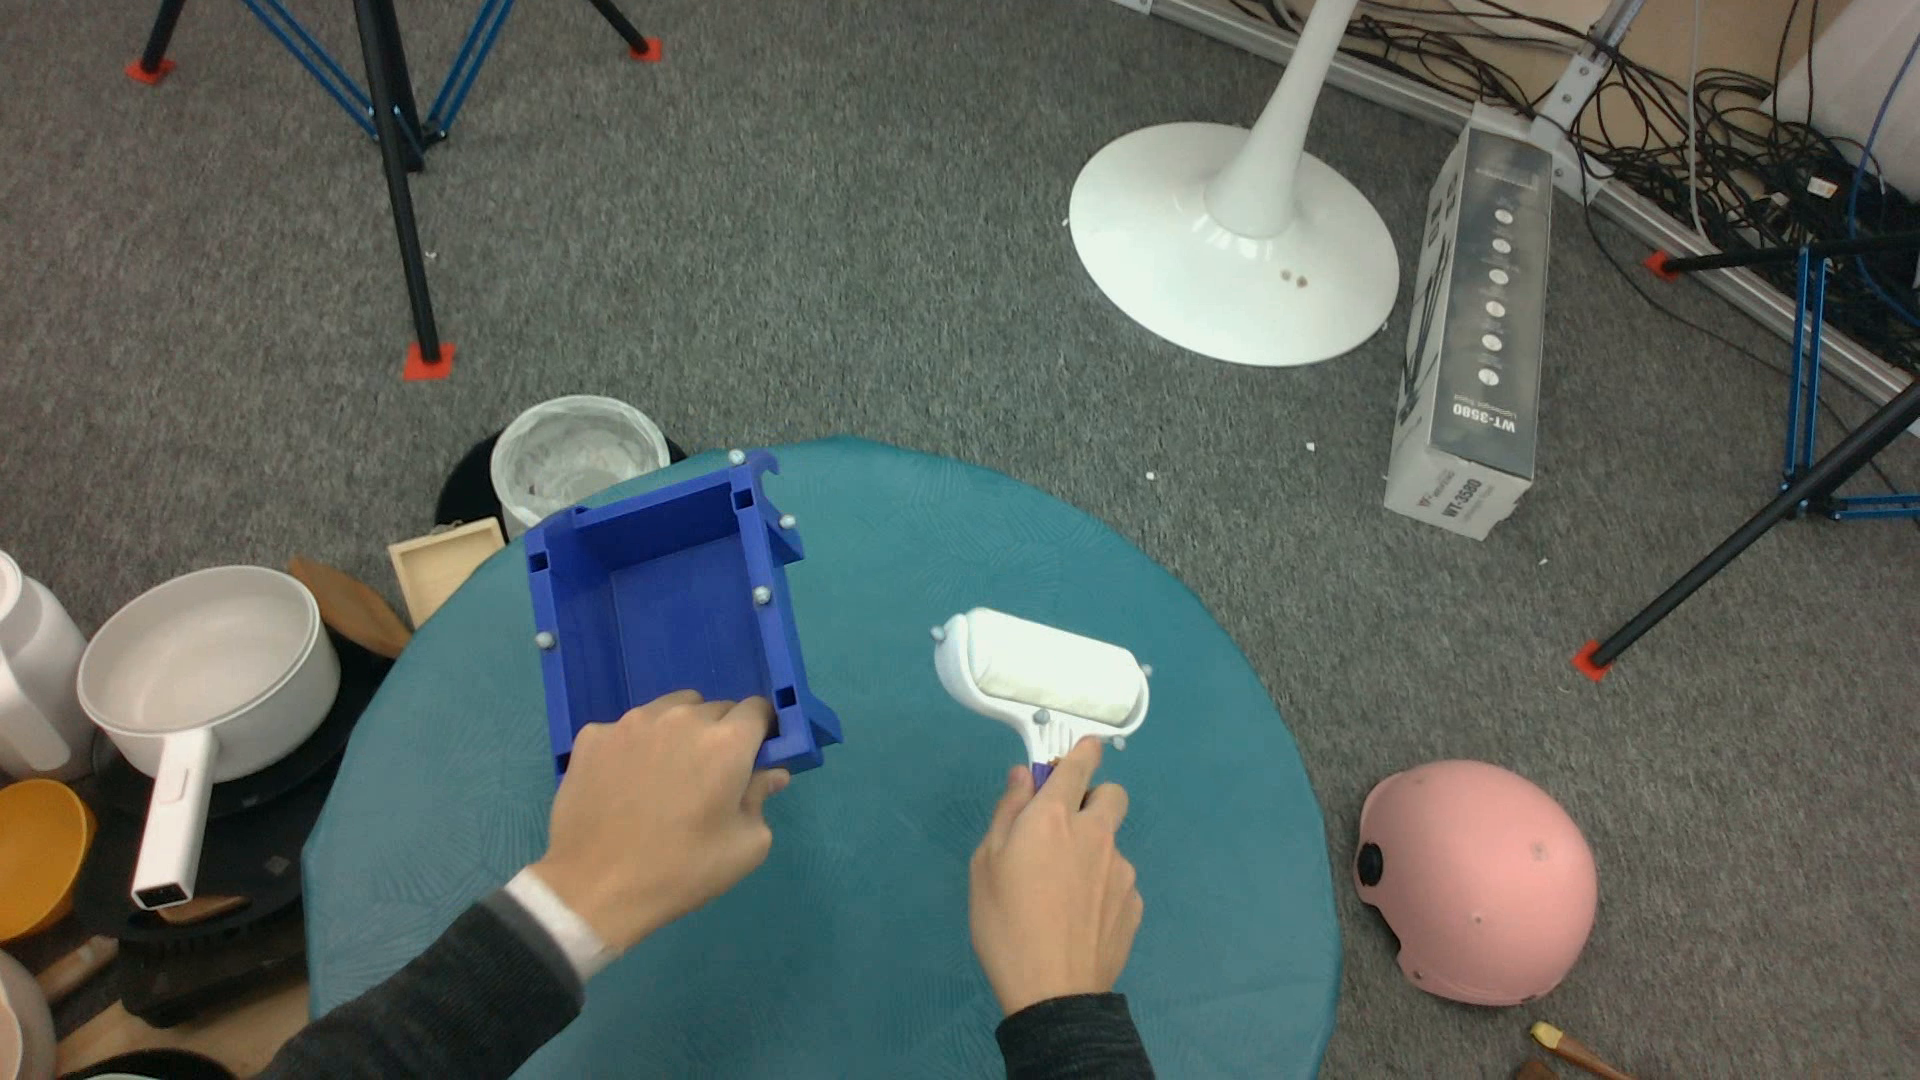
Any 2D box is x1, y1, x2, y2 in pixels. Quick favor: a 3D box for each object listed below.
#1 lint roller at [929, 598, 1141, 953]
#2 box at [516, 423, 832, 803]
[{"bbox_3d":[0.049,0.118,0.712,0.133,0.050,0.181,20,45,-32],"label":"lint roller"},{"bbox_3d":[-0.146,0.034,0.695,0.124,0.082,0.180,-16,71,5],"label":"box"}]
